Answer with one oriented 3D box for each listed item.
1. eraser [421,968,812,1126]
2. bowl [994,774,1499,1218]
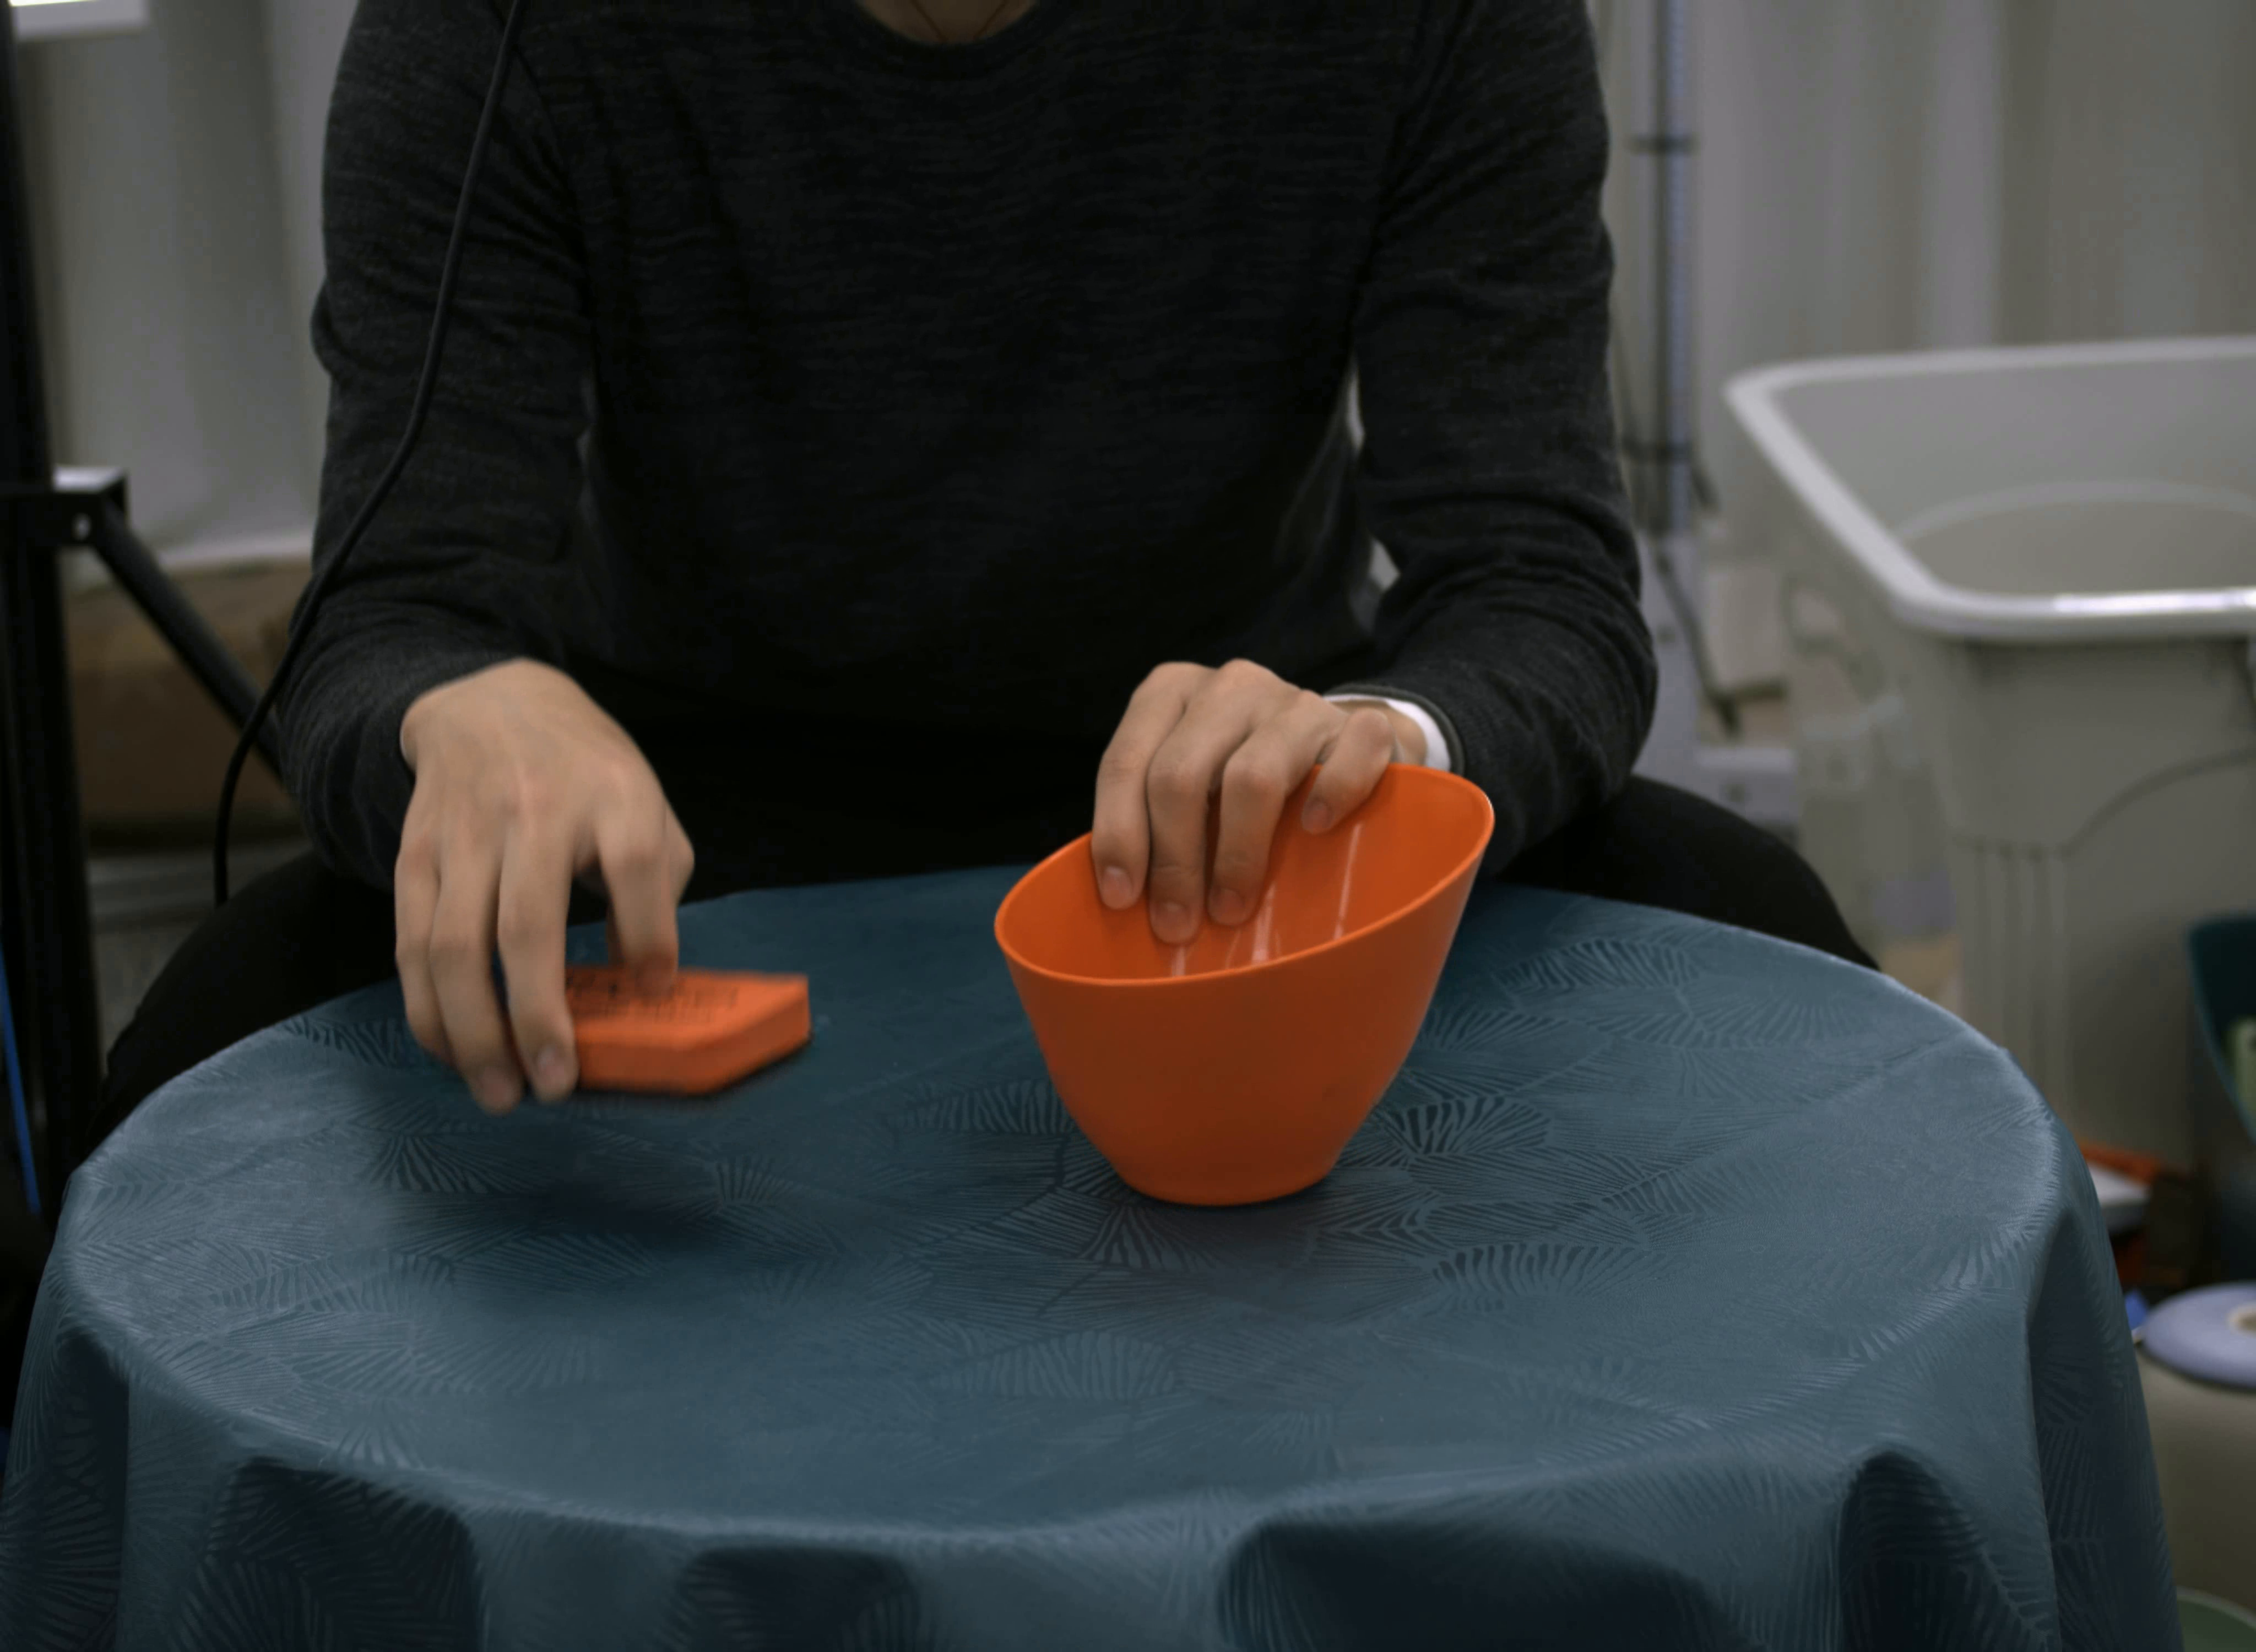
[{"bbox_3d":[-0.149,0.064,1.551,0.110,0.023,0.058,5,20,34],"label":"eraser"},{"bbox_3d":[0.036,0.053,1.548,0.147,0.104,0.149,-4,20,0],"label":"bowl"}]
